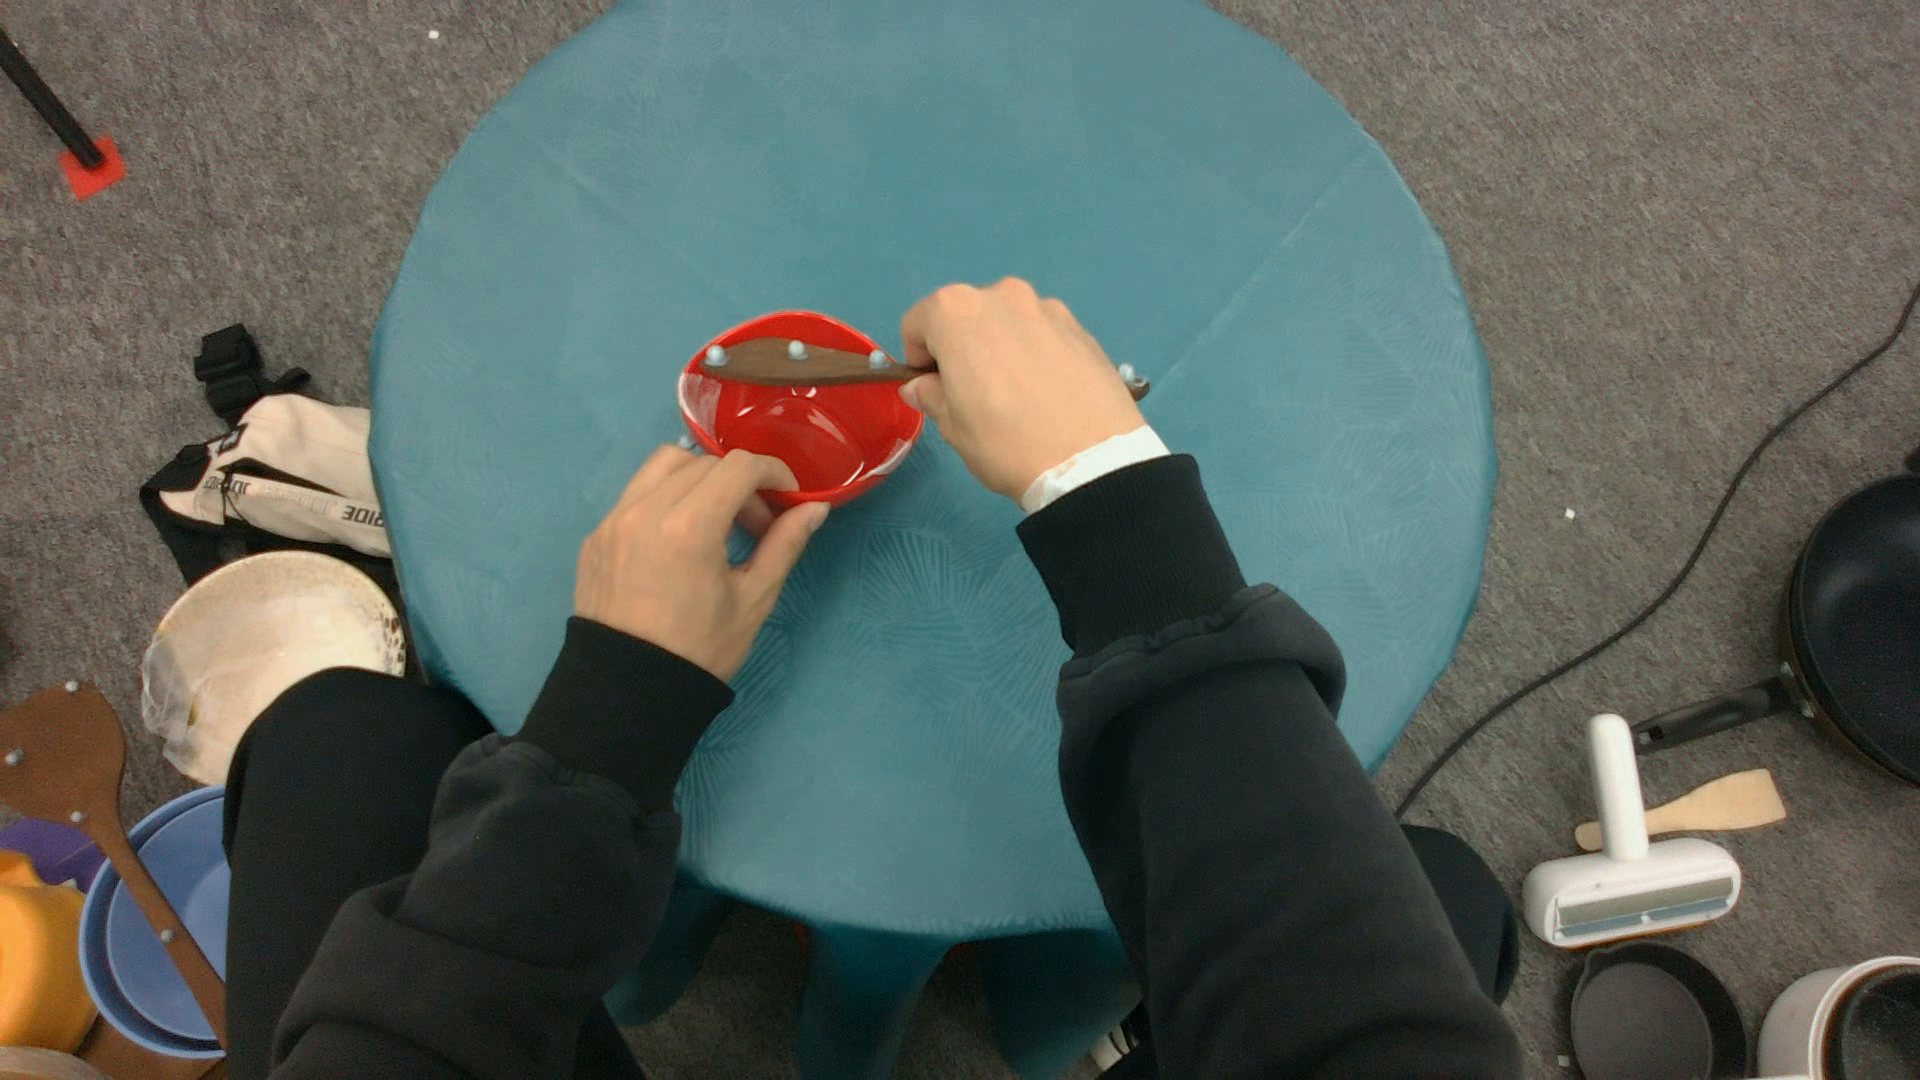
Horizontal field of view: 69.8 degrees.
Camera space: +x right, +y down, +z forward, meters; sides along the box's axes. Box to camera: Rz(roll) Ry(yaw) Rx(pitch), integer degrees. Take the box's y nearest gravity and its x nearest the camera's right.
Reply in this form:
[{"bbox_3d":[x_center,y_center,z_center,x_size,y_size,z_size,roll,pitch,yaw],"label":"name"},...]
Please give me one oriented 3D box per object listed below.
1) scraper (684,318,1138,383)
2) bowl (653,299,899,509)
[{"bbox_3d":[-0.023,-0.085,0.628,0.211,0.076,0.011,8,110,21],"label":"scraper"},{"bbox_3d":[-0.093,-0.060,0.681,0.119,0.051,0.119,9,51,-11],"label":"bowl"}]
